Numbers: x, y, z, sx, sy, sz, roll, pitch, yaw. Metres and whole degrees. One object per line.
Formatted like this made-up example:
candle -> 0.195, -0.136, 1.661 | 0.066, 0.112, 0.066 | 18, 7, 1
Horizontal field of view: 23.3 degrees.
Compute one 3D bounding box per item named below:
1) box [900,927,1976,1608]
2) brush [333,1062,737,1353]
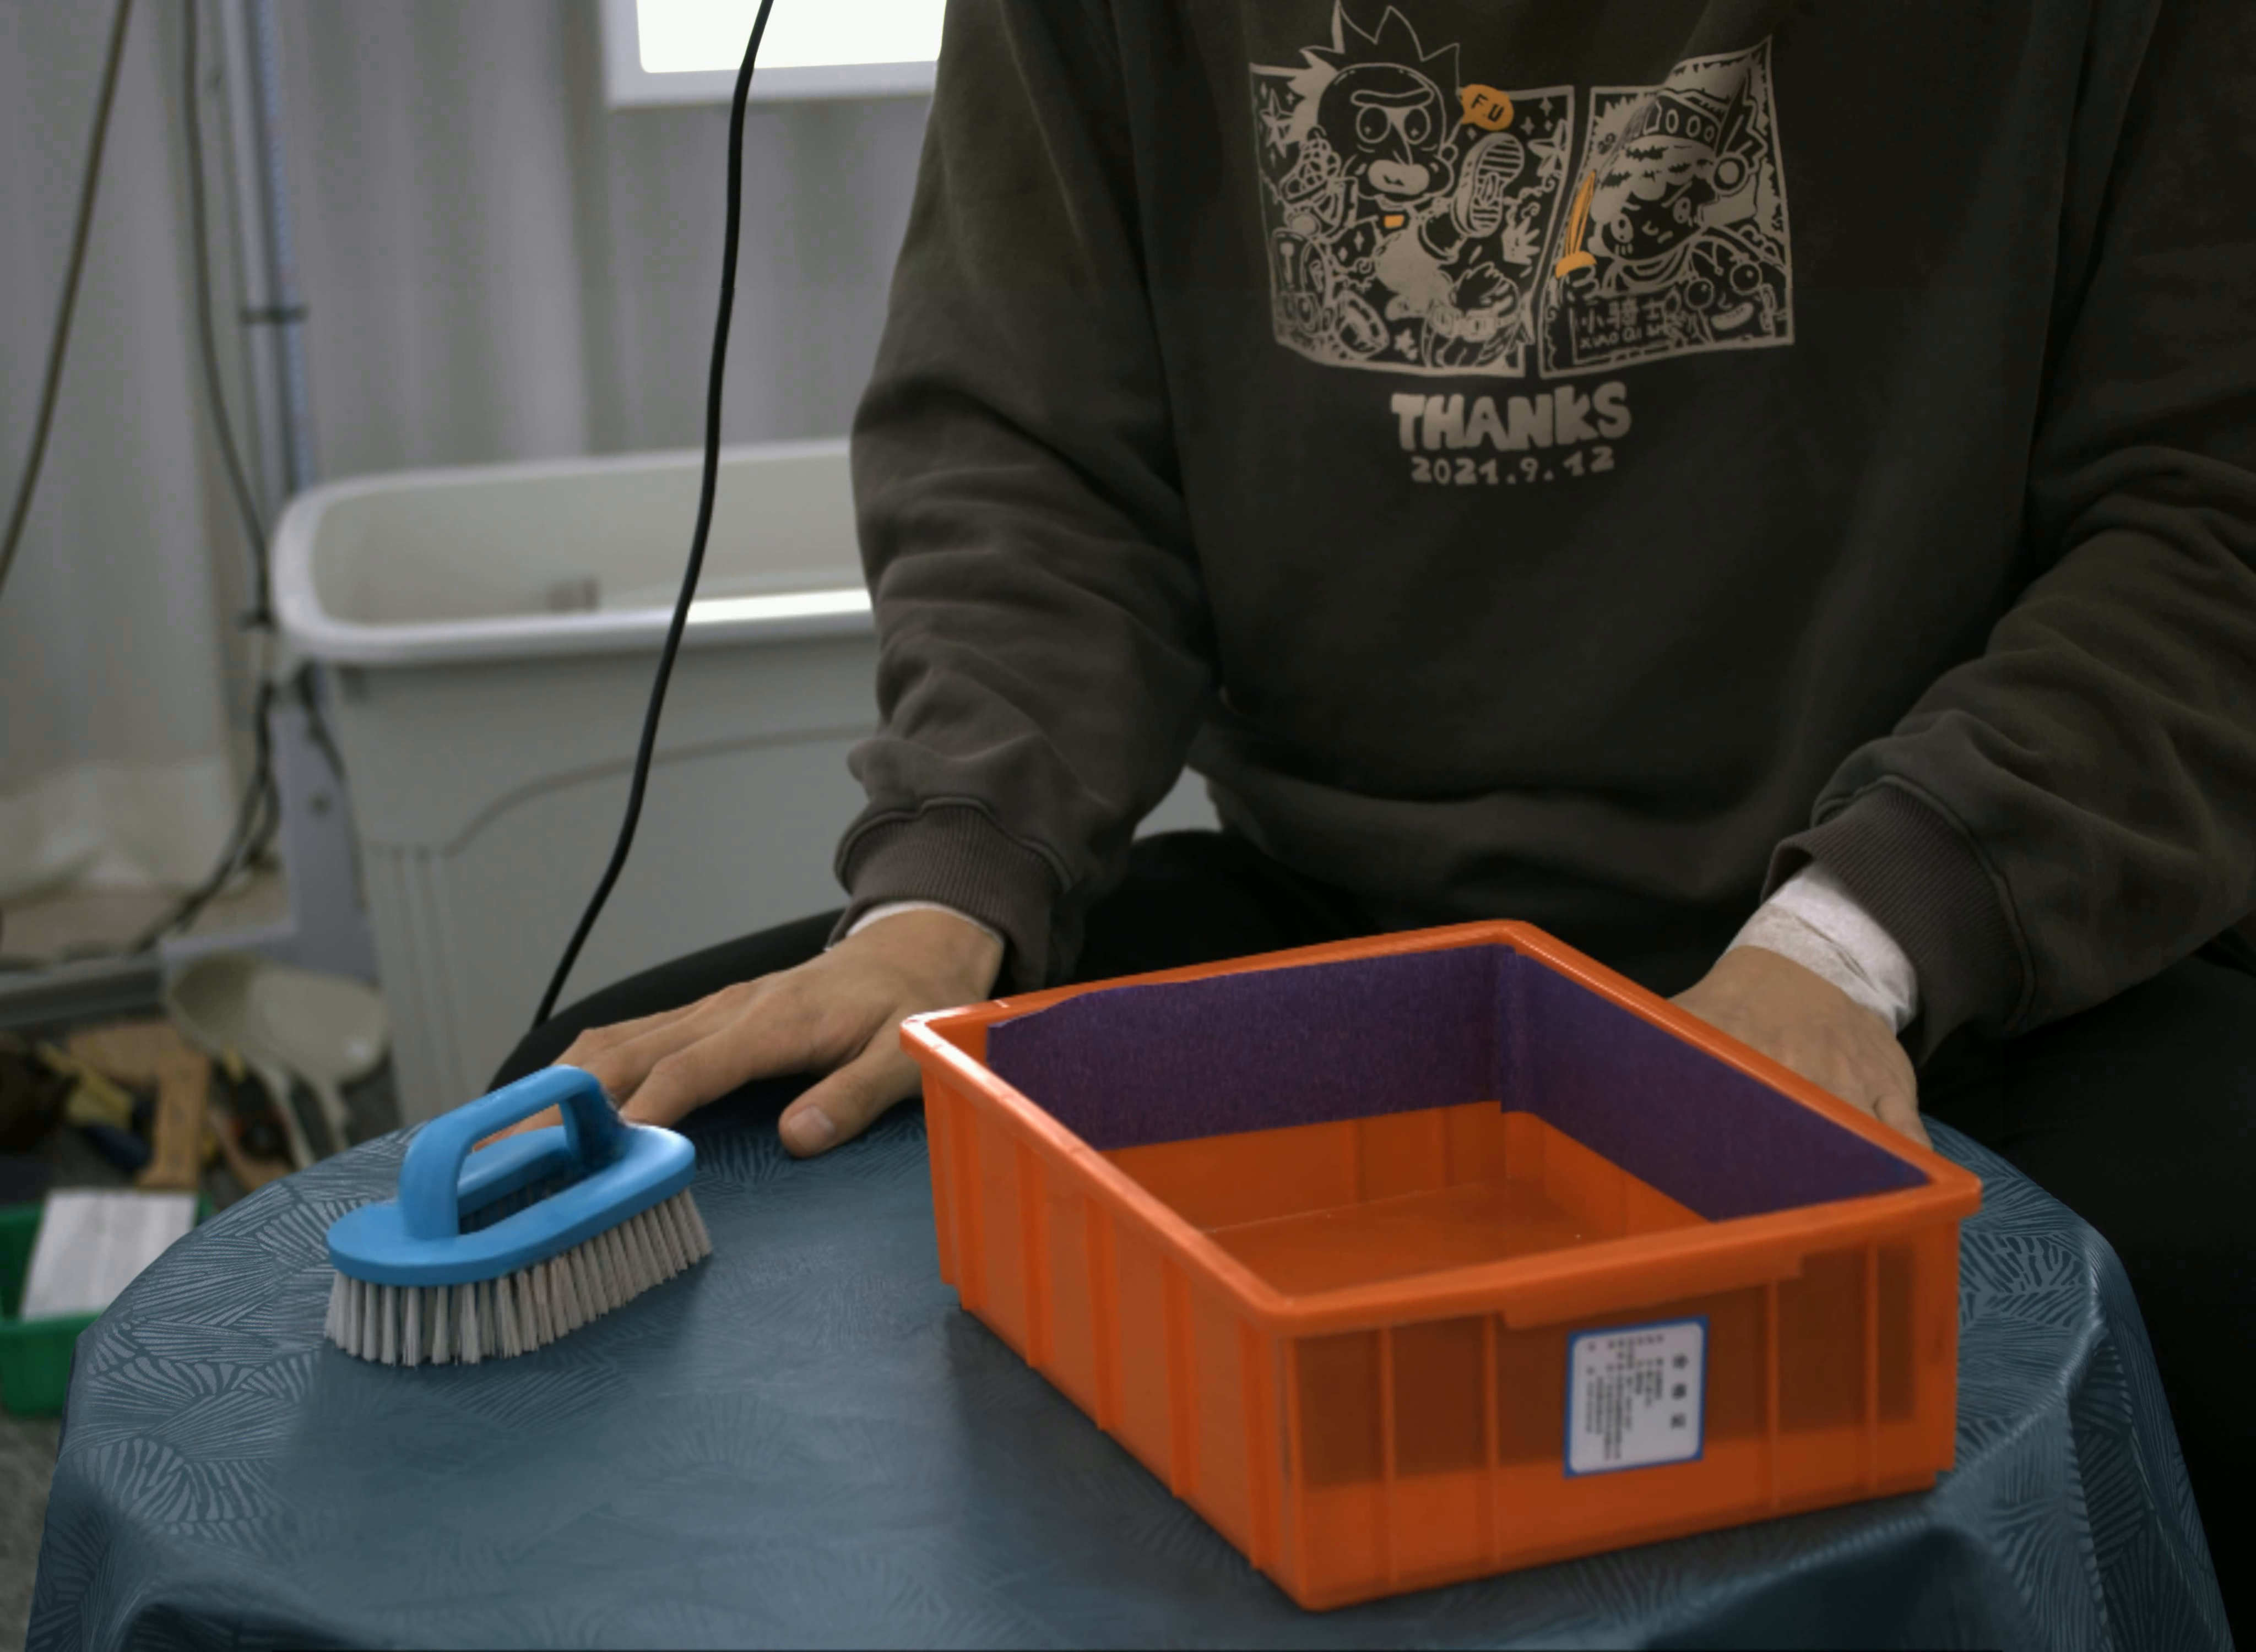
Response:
box -> 0.079, 0.118, 1.532 | 0.205, 0.096, 0.306 | -8, 16, -19
brush -> -0.182, 0.110, 1.653 | 0.084, 0.063, 0.142 | 1, 13, 34
